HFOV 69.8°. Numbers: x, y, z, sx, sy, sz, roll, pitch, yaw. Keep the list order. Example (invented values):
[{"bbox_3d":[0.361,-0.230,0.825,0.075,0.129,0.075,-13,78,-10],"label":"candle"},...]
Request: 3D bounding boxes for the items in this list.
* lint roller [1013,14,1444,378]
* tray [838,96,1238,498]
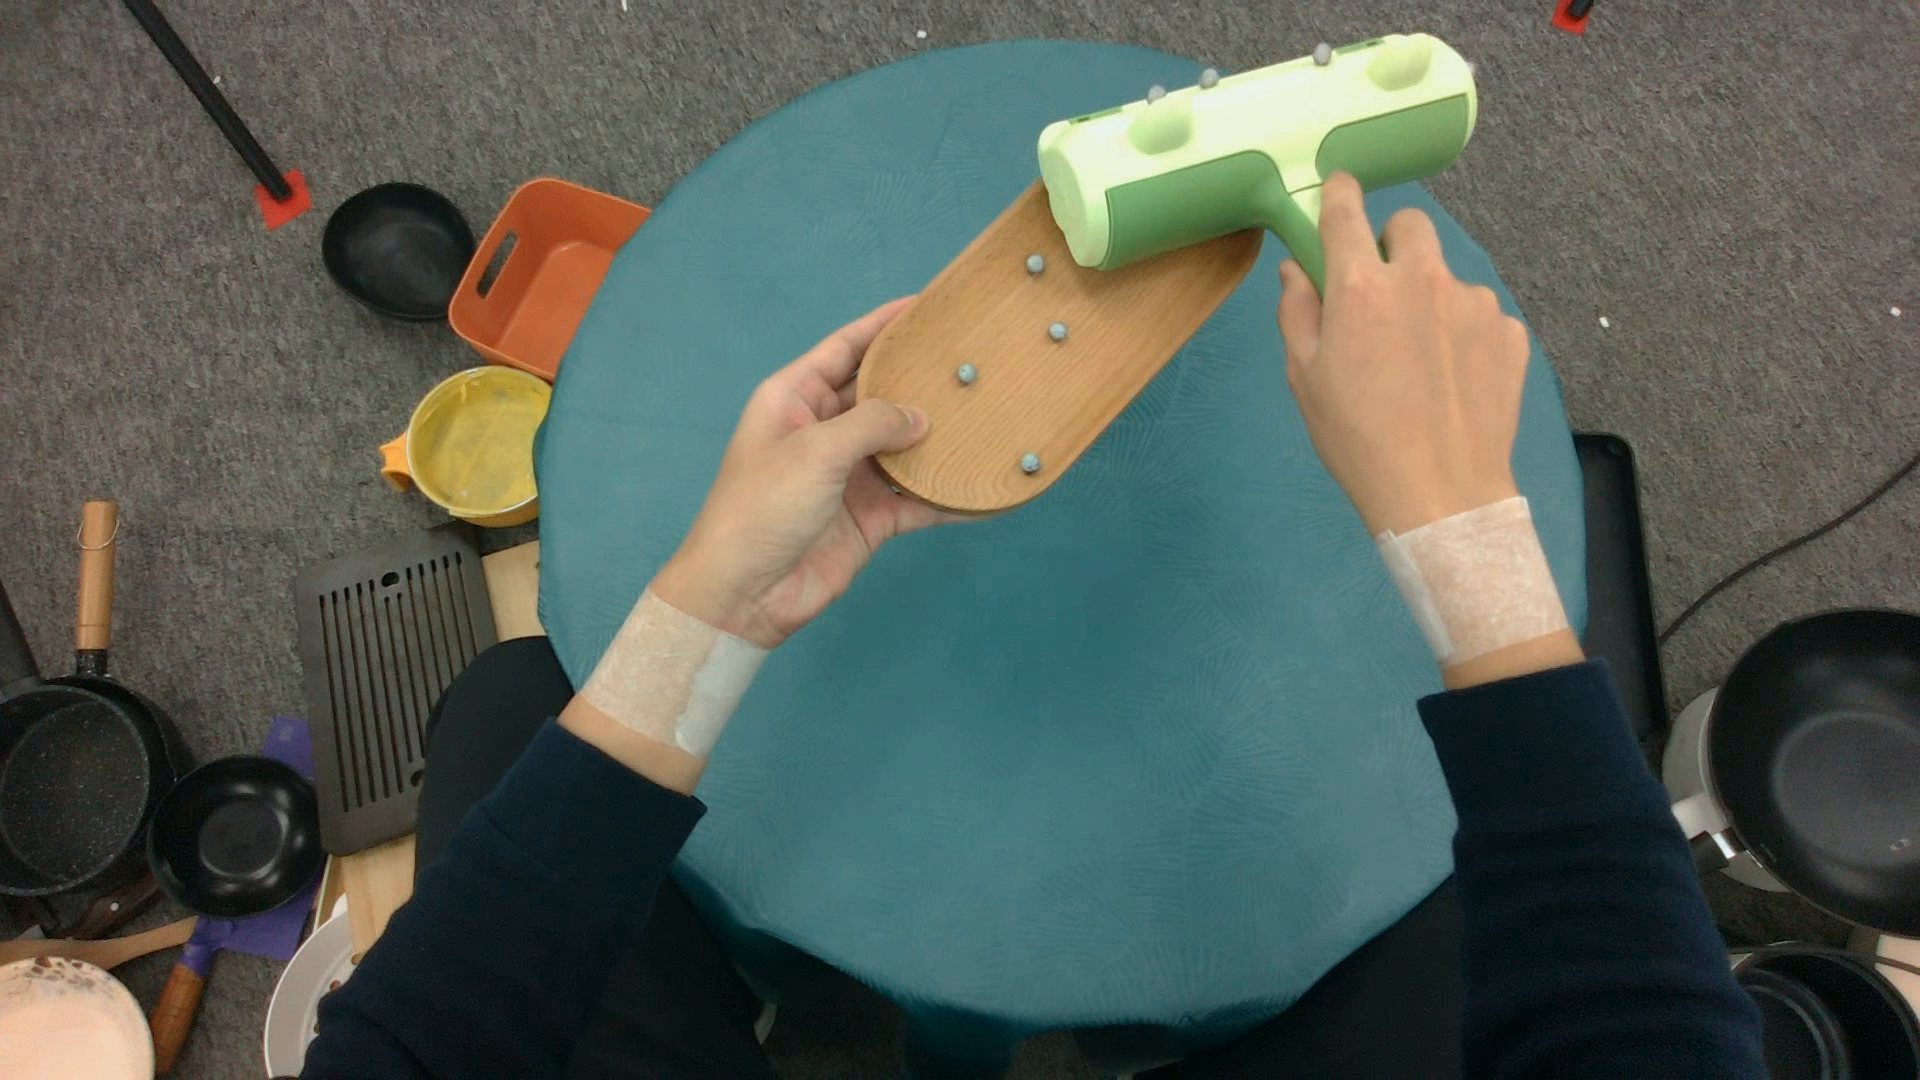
[{"bbox_3d":[0.146,-0.150,0.578,0.199,0.082,0.184,-20,52,-15],"label":"lint roller"},{"bbox_3d":[0.038,-0.112,0.614,0.101,0.020,0.232,39,68,4],"label":"tray"}]
